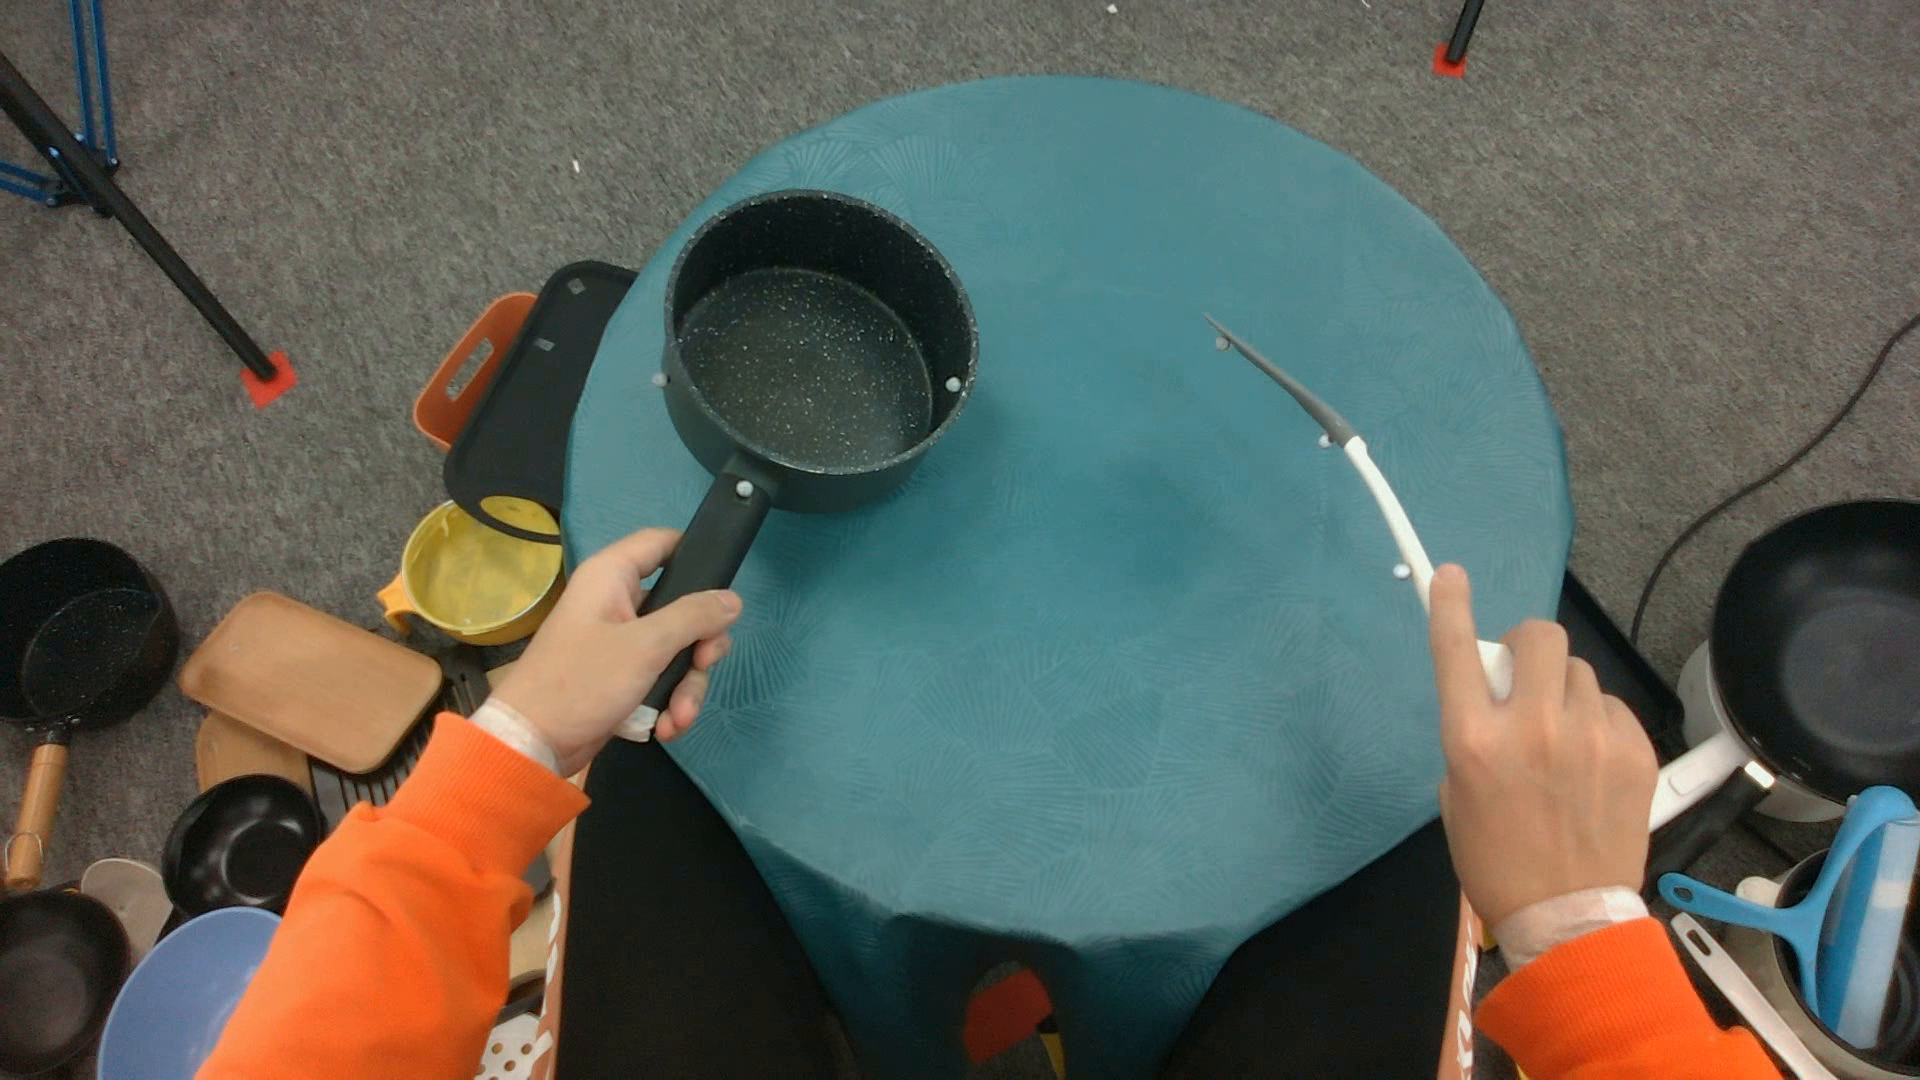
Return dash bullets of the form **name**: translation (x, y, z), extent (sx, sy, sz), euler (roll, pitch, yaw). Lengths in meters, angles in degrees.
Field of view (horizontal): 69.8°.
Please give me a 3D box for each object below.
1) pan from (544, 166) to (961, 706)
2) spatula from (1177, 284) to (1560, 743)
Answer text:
- **pan**: translation (-0.120, -0.050, 0.729), extent (0.172, 0.086, 0.330), euler (28, 62, -5)
- **spatula**: translation (0.197, -0.028, 0.688), extent (0.032, 0.059, 0.288), euler (-43, 59, 26)
